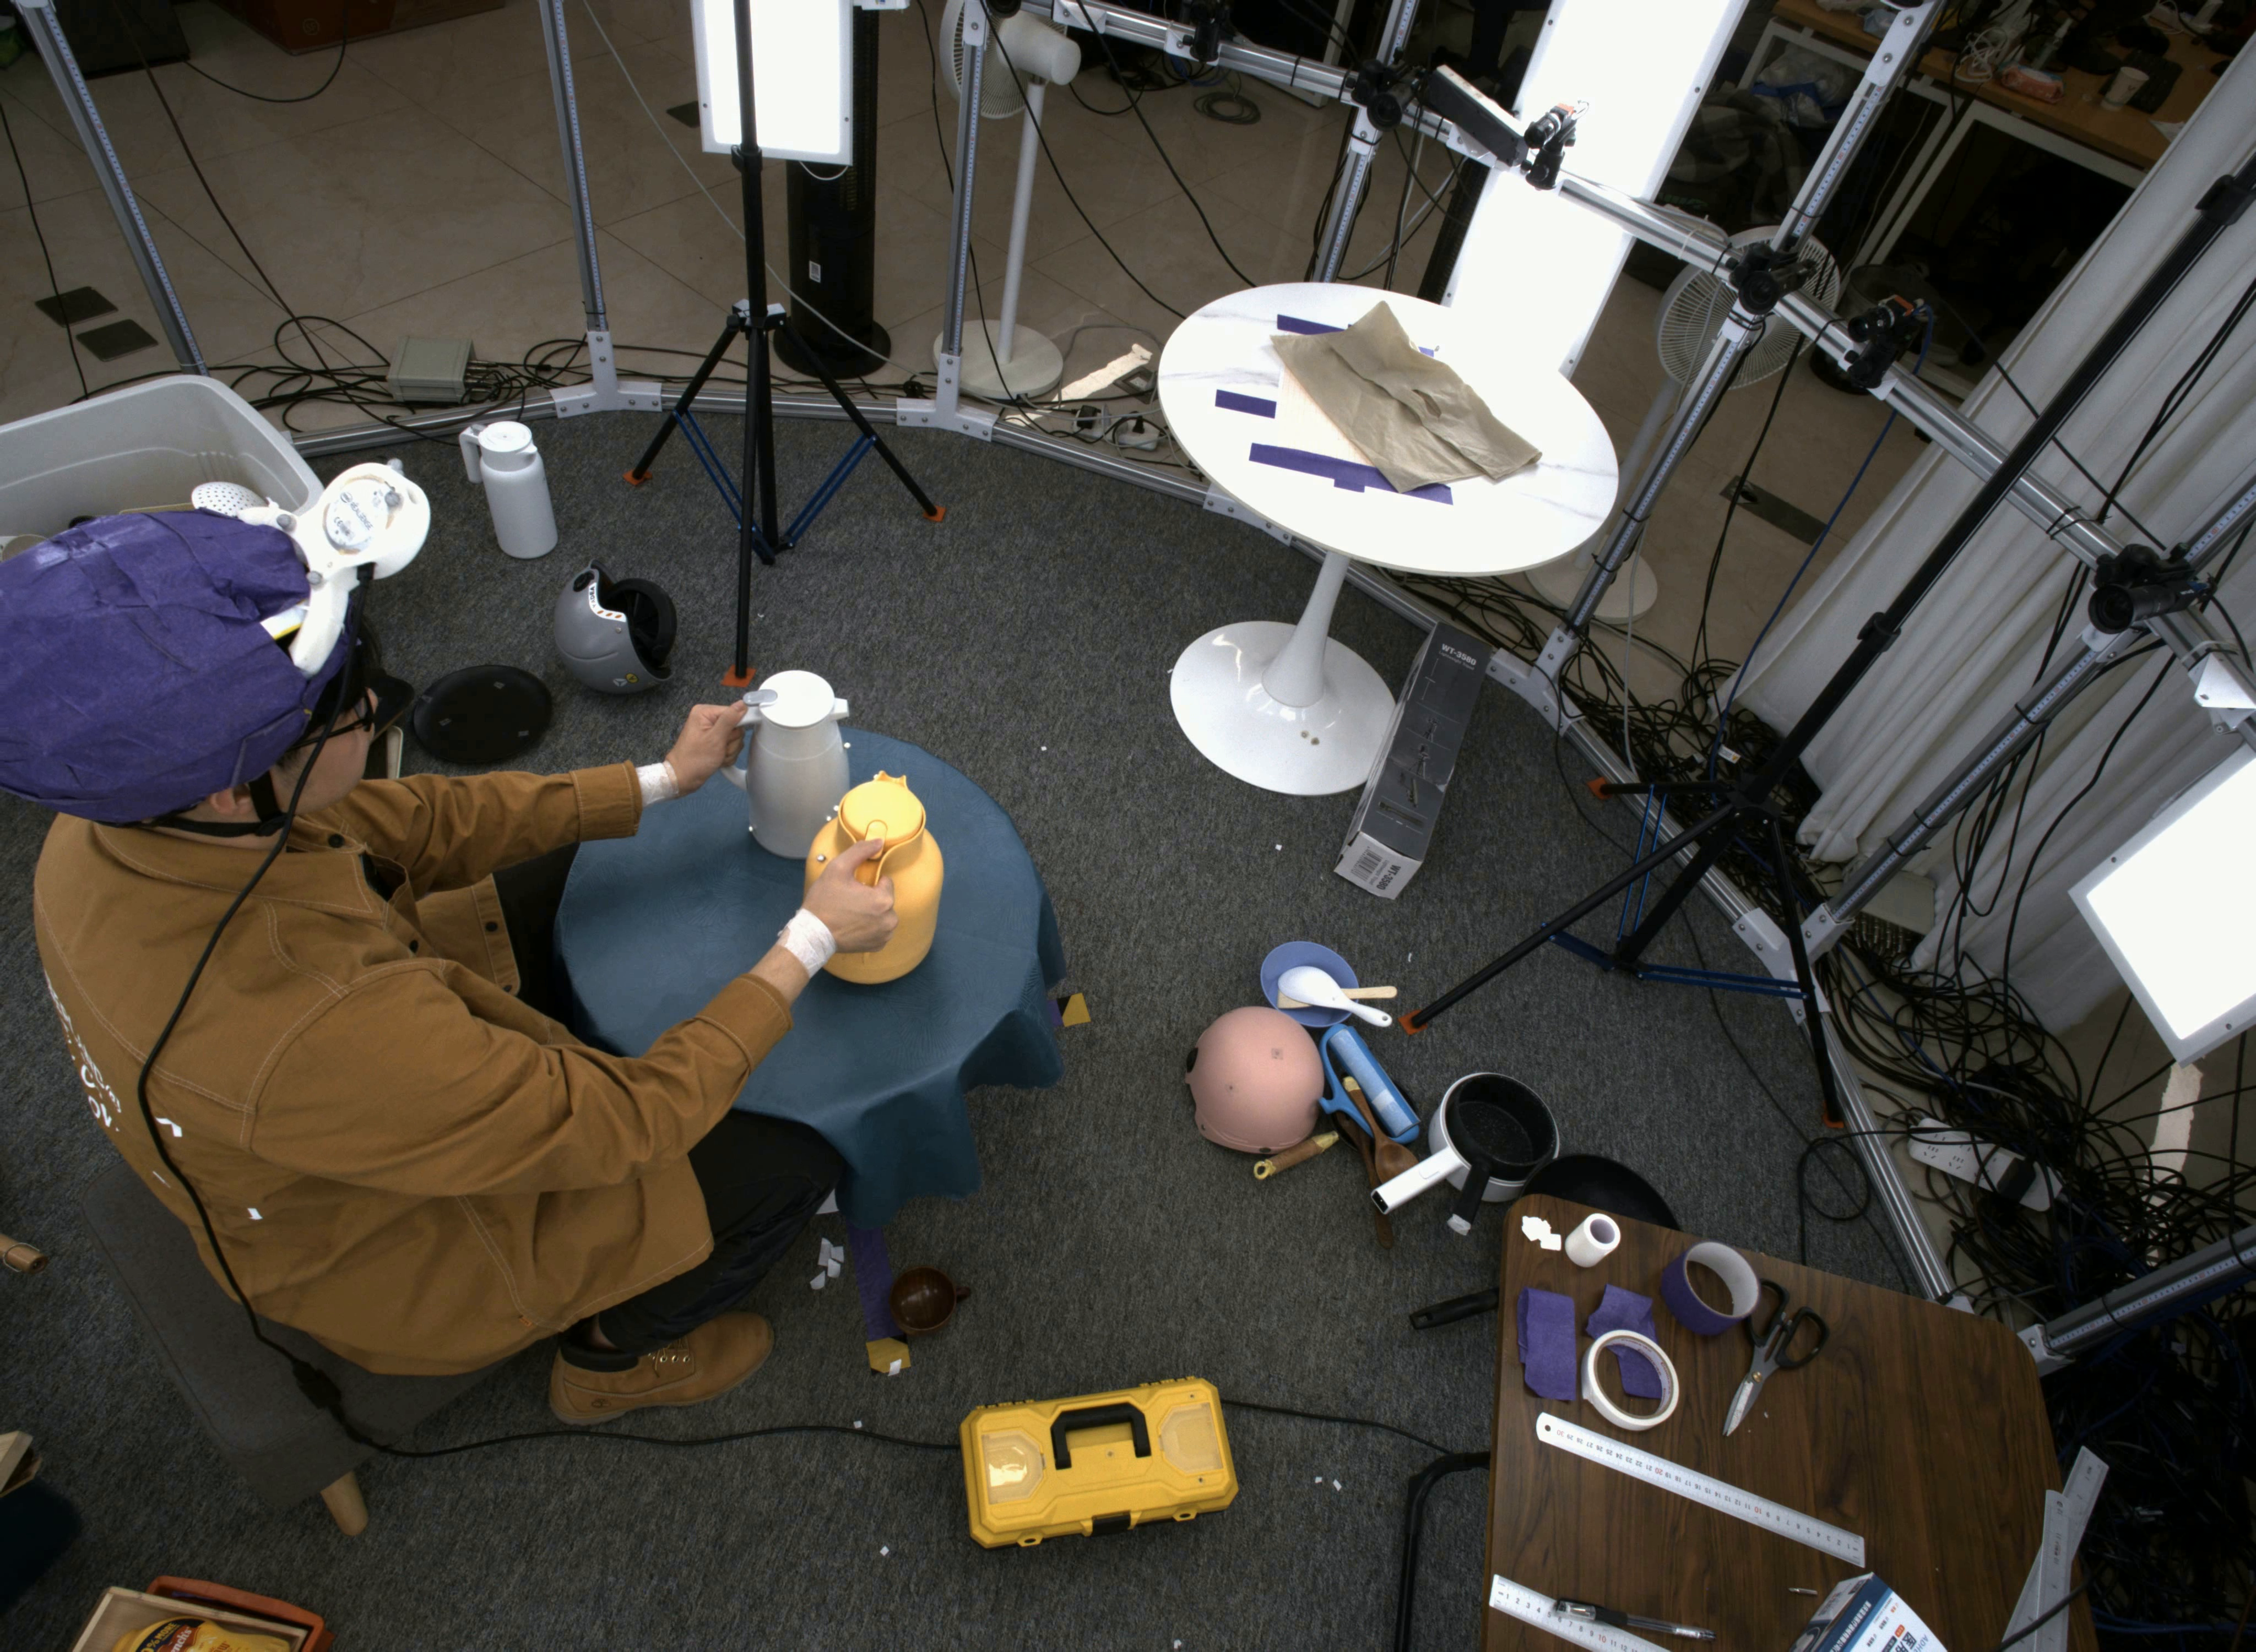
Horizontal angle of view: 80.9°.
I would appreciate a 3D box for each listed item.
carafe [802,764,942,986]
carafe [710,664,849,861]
[{"bbox_3d":[-0.303,0.070,1.516,0.162,0.266,0.199,11,46,-4],"label":"carafe"},{"bbox_3d":[-0.435,-0.084,1.621,0.168,0.254,0.129,-4,53,-14],"label":"carafe"}]
